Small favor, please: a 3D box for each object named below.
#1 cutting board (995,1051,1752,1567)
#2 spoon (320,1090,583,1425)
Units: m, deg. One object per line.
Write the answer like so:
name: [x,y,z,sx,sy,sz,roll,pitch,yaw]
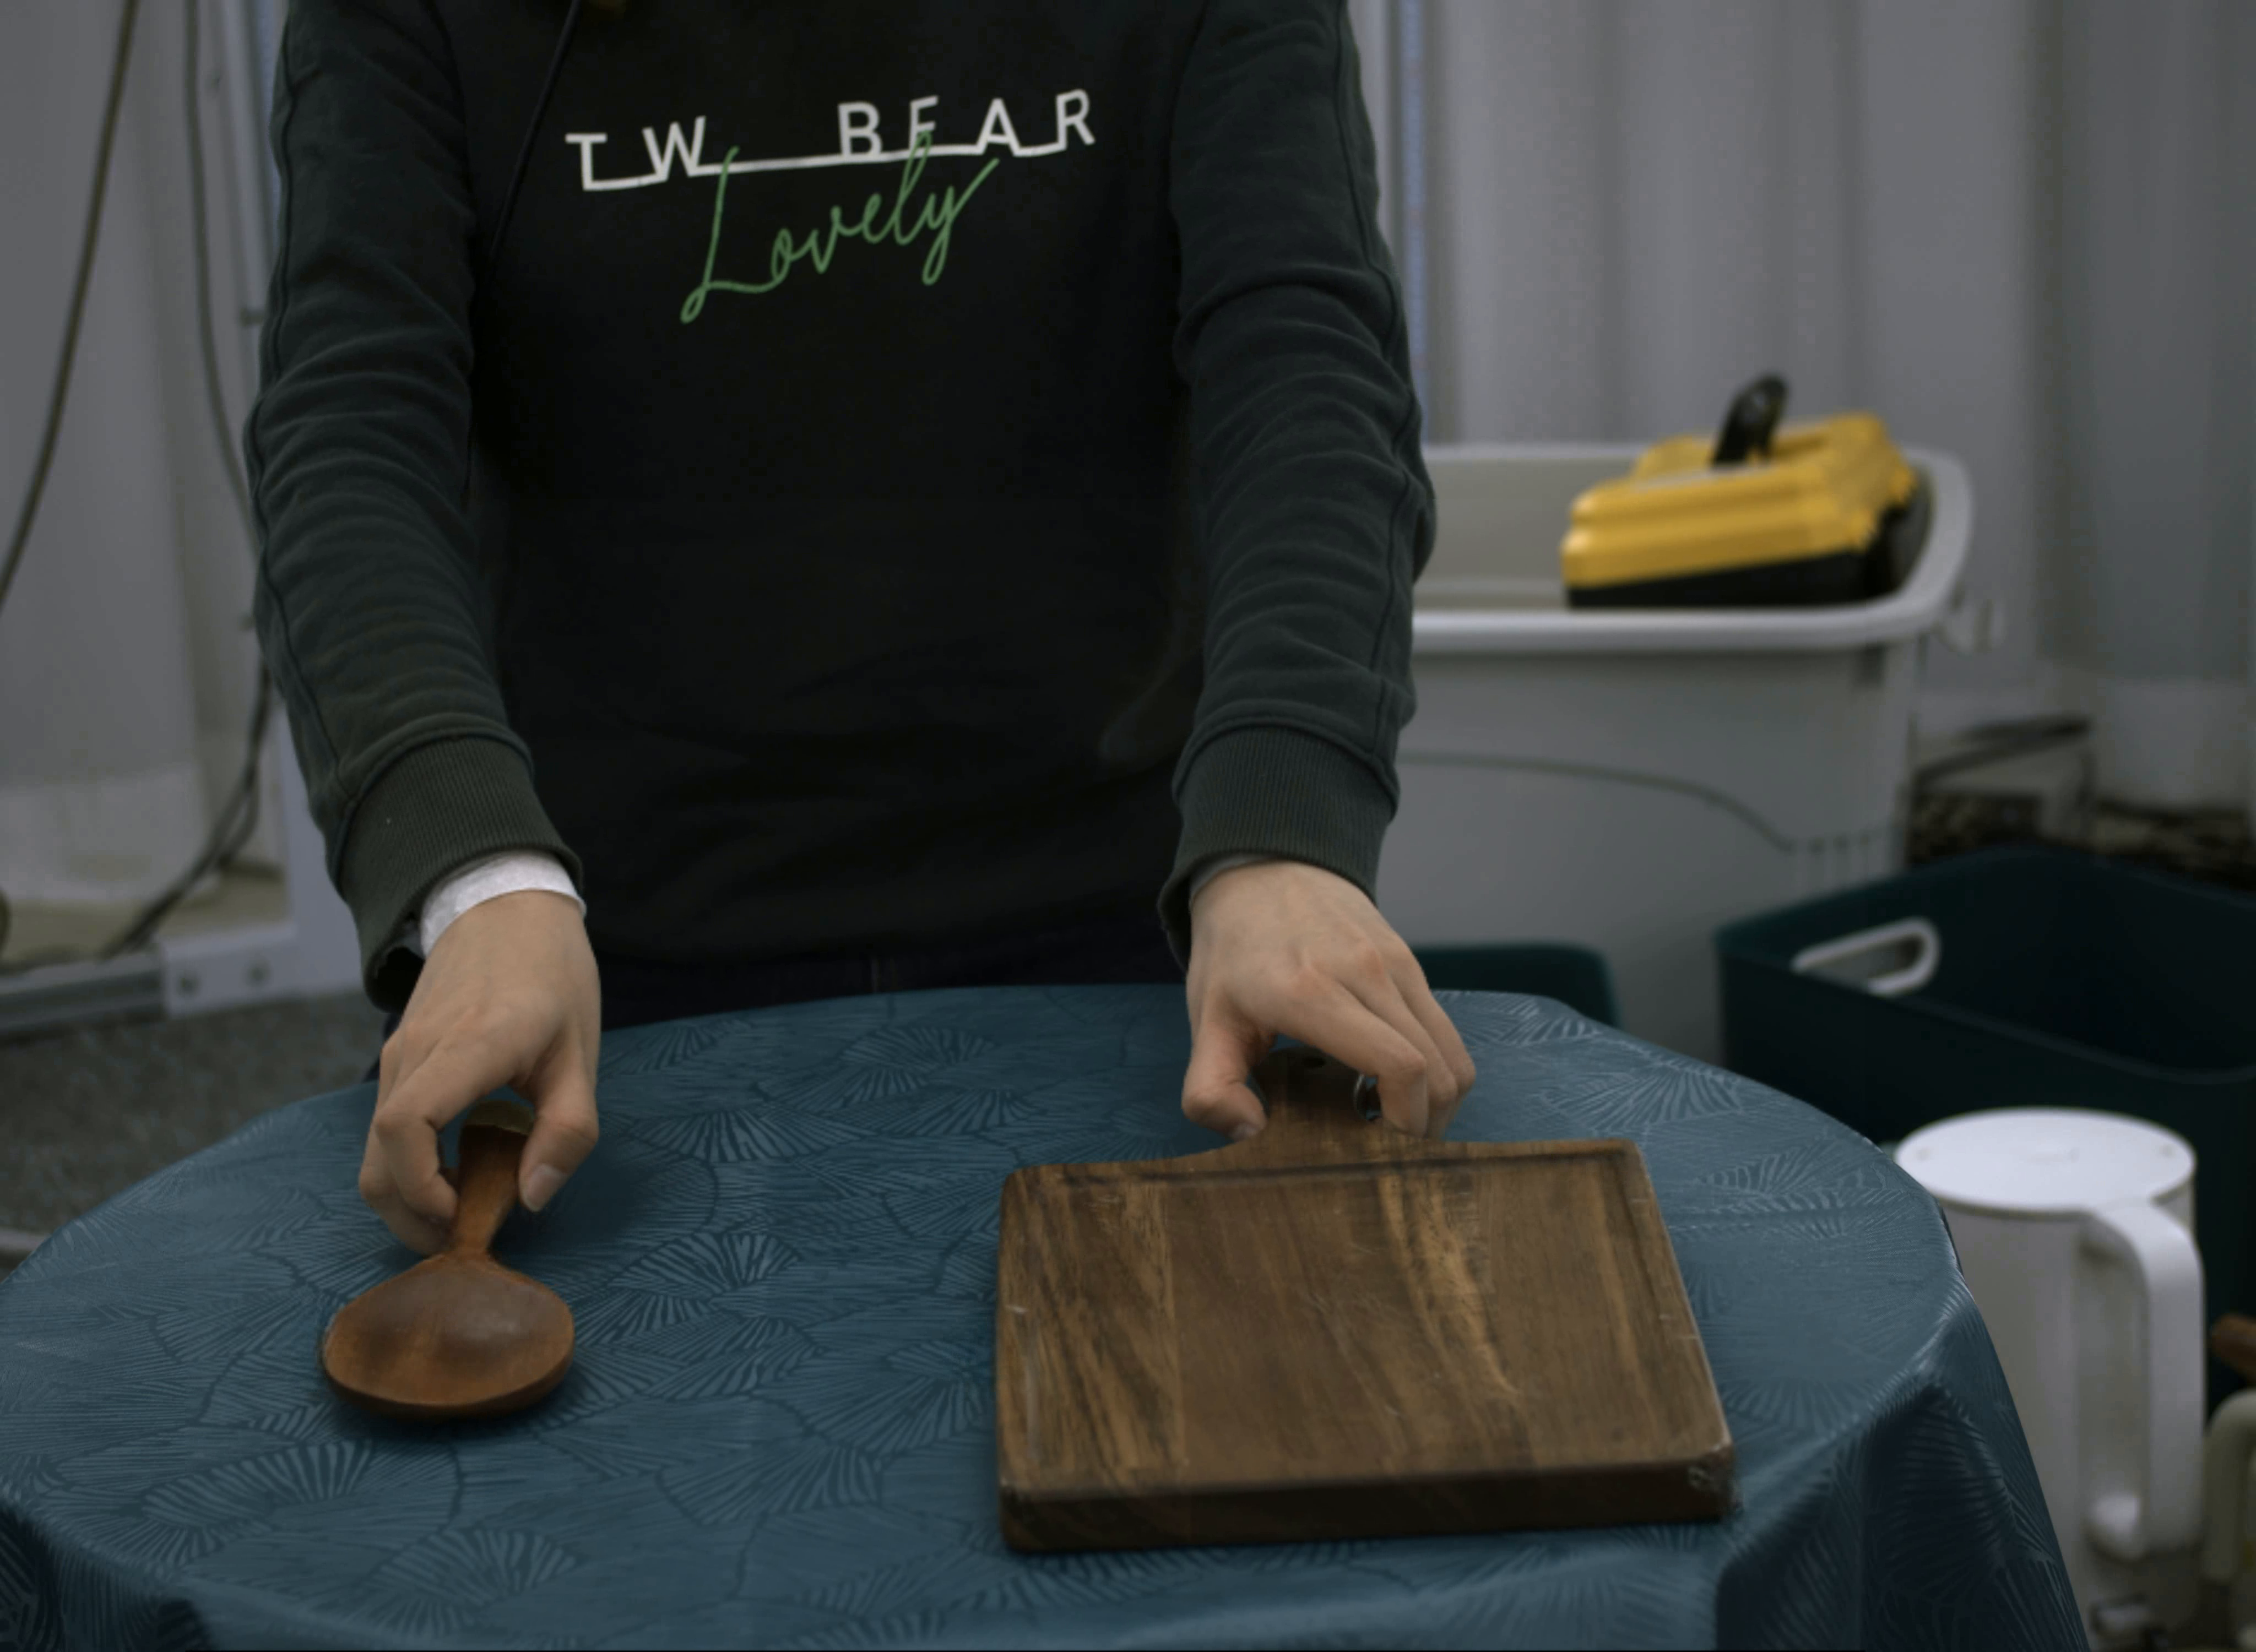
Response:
cutting board: [0.061,0.131,1.594,0.200,0.023,0.355,-4,16,0]
spoon: [-0.194,0.129,1.630,0.075,0.017,0.218,-3,21,1]
